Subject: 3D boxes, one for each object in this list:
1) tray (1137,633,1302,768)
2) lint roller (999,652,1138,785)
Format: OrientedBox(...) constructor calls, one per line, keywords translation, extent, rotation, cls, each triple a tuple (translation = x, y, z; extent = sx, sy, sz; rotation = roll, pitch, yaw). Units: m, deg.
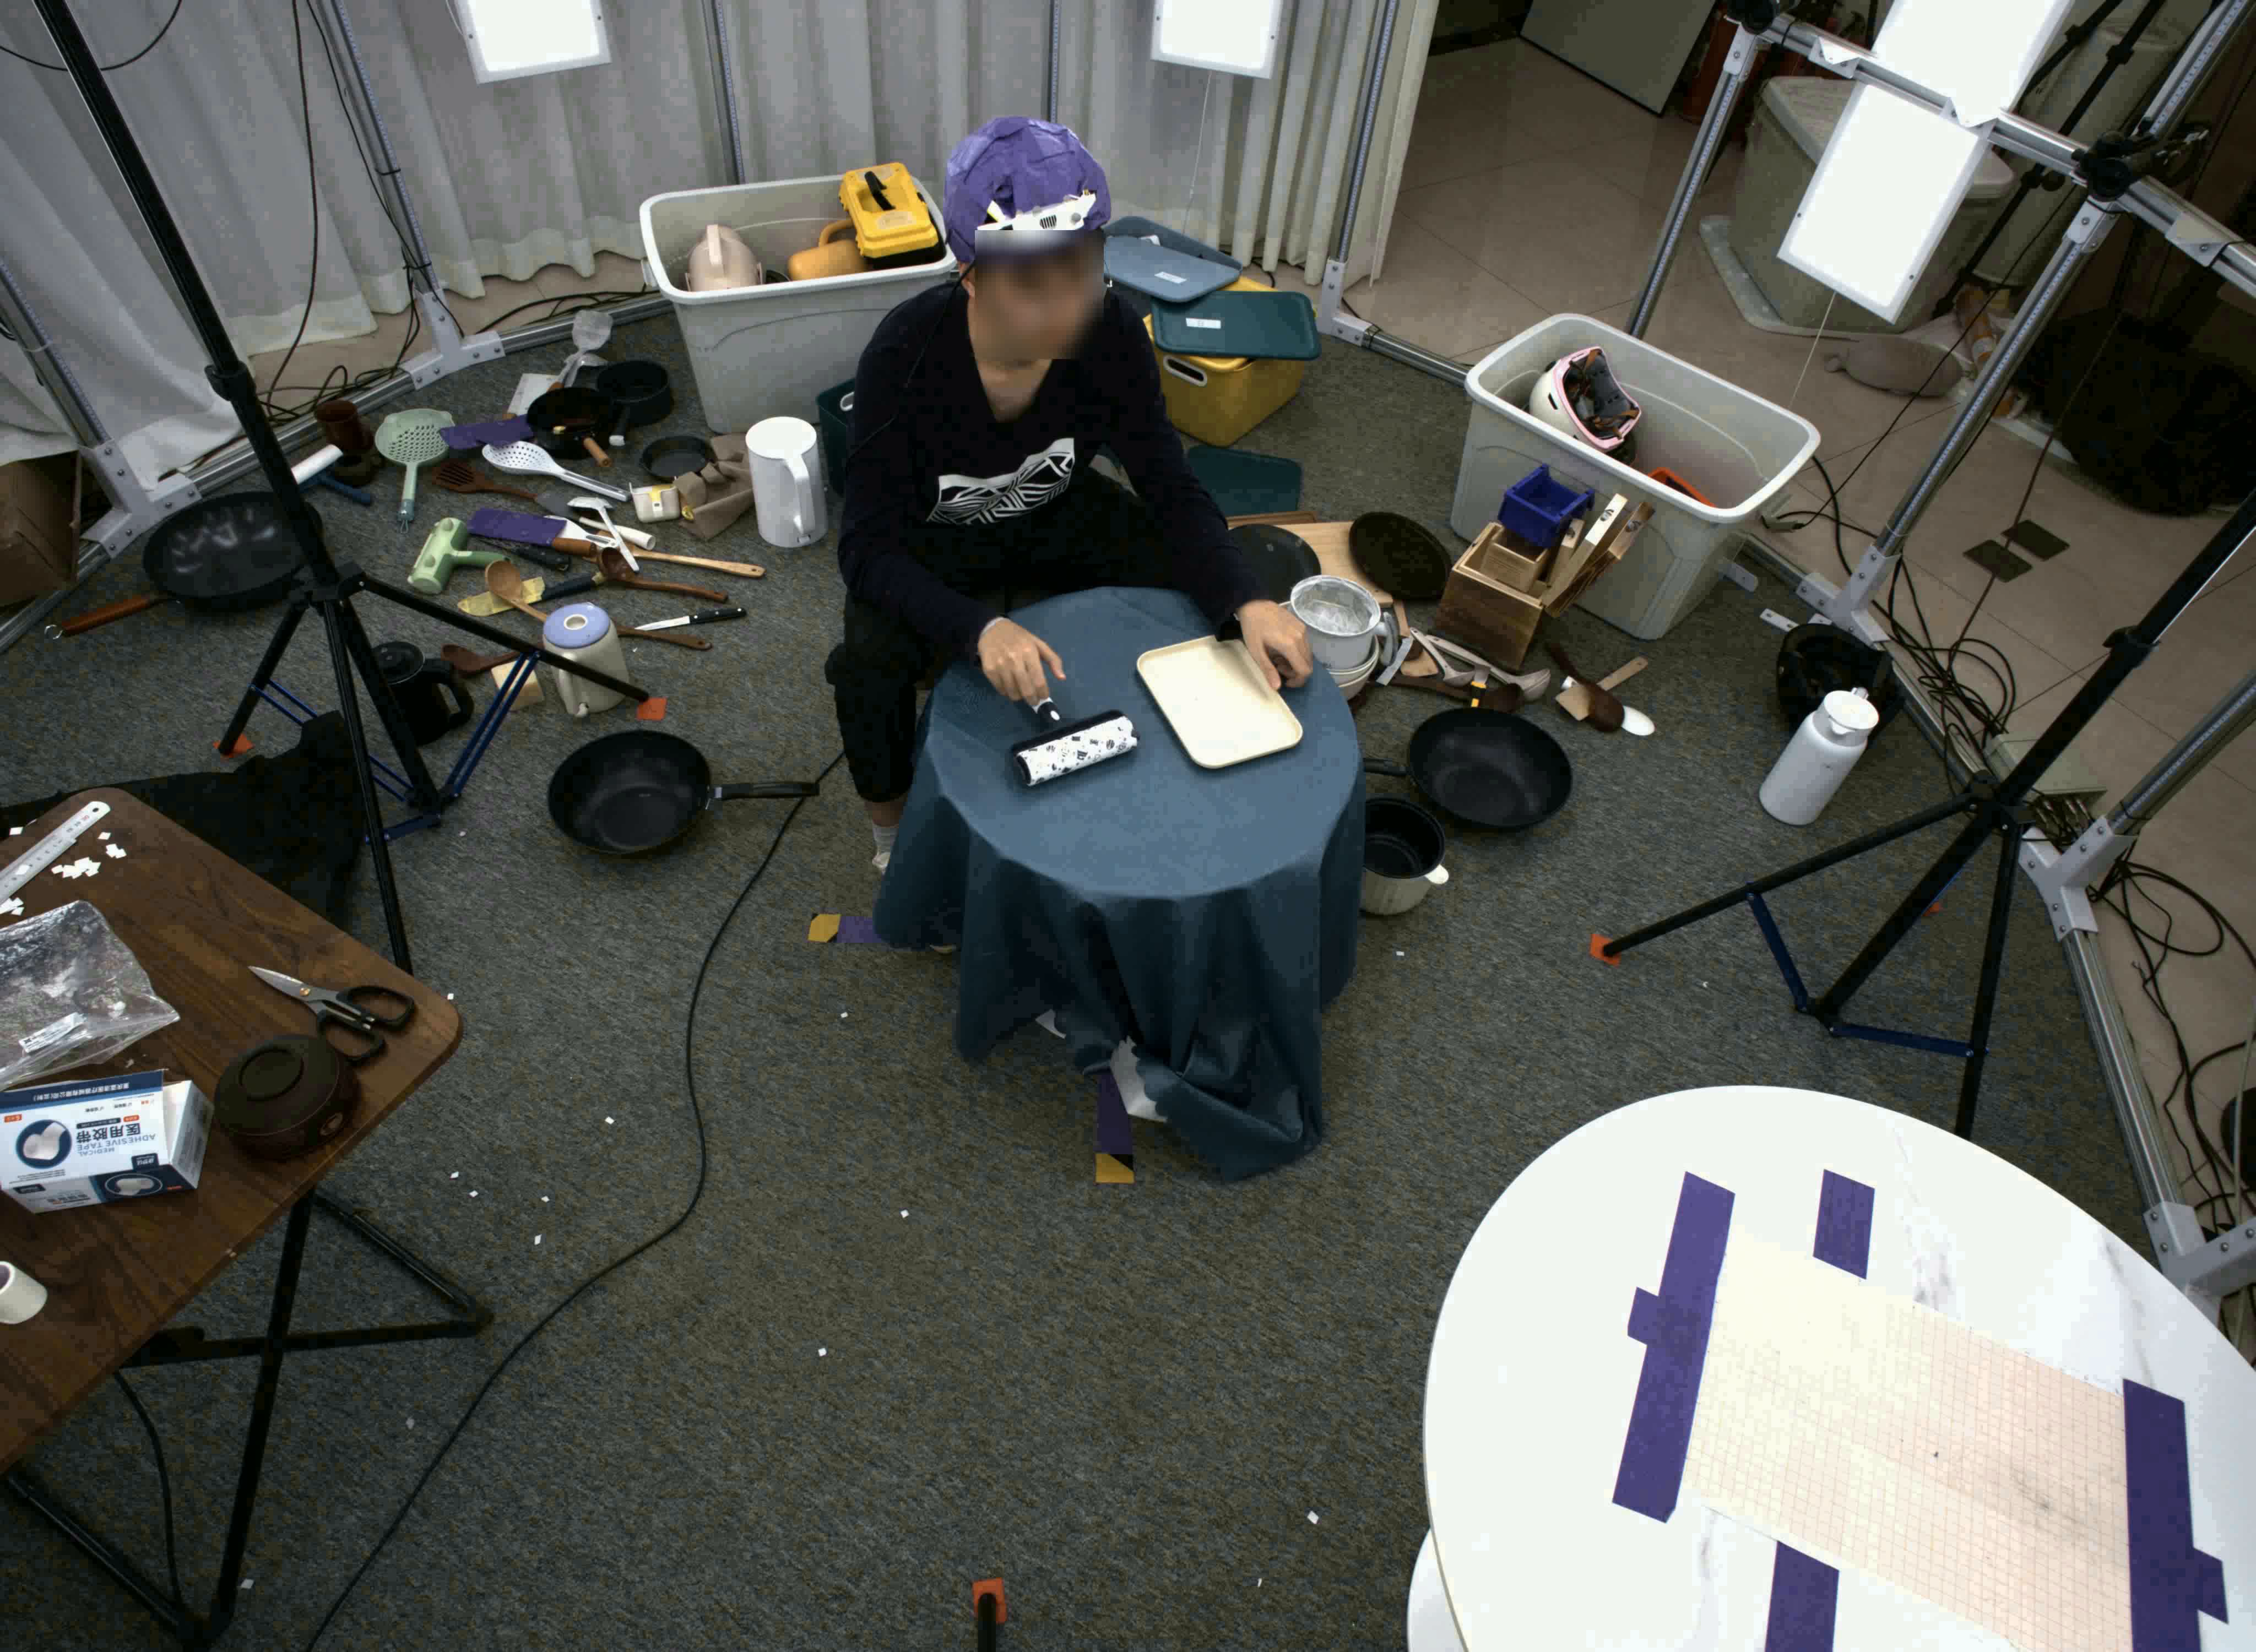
OrientedBox(translation=(0.127, -0.180, 1.820), extent=(0.171, 0.017, 0.245), rotation=(-16, 52, -16), cls="tray")
OrientedBox(translation=(-0.120, -0.169, 1.780), extent=(0.177, 0.049, 0.252), rotation=(-22, 52, -21), cls="lint roller")
